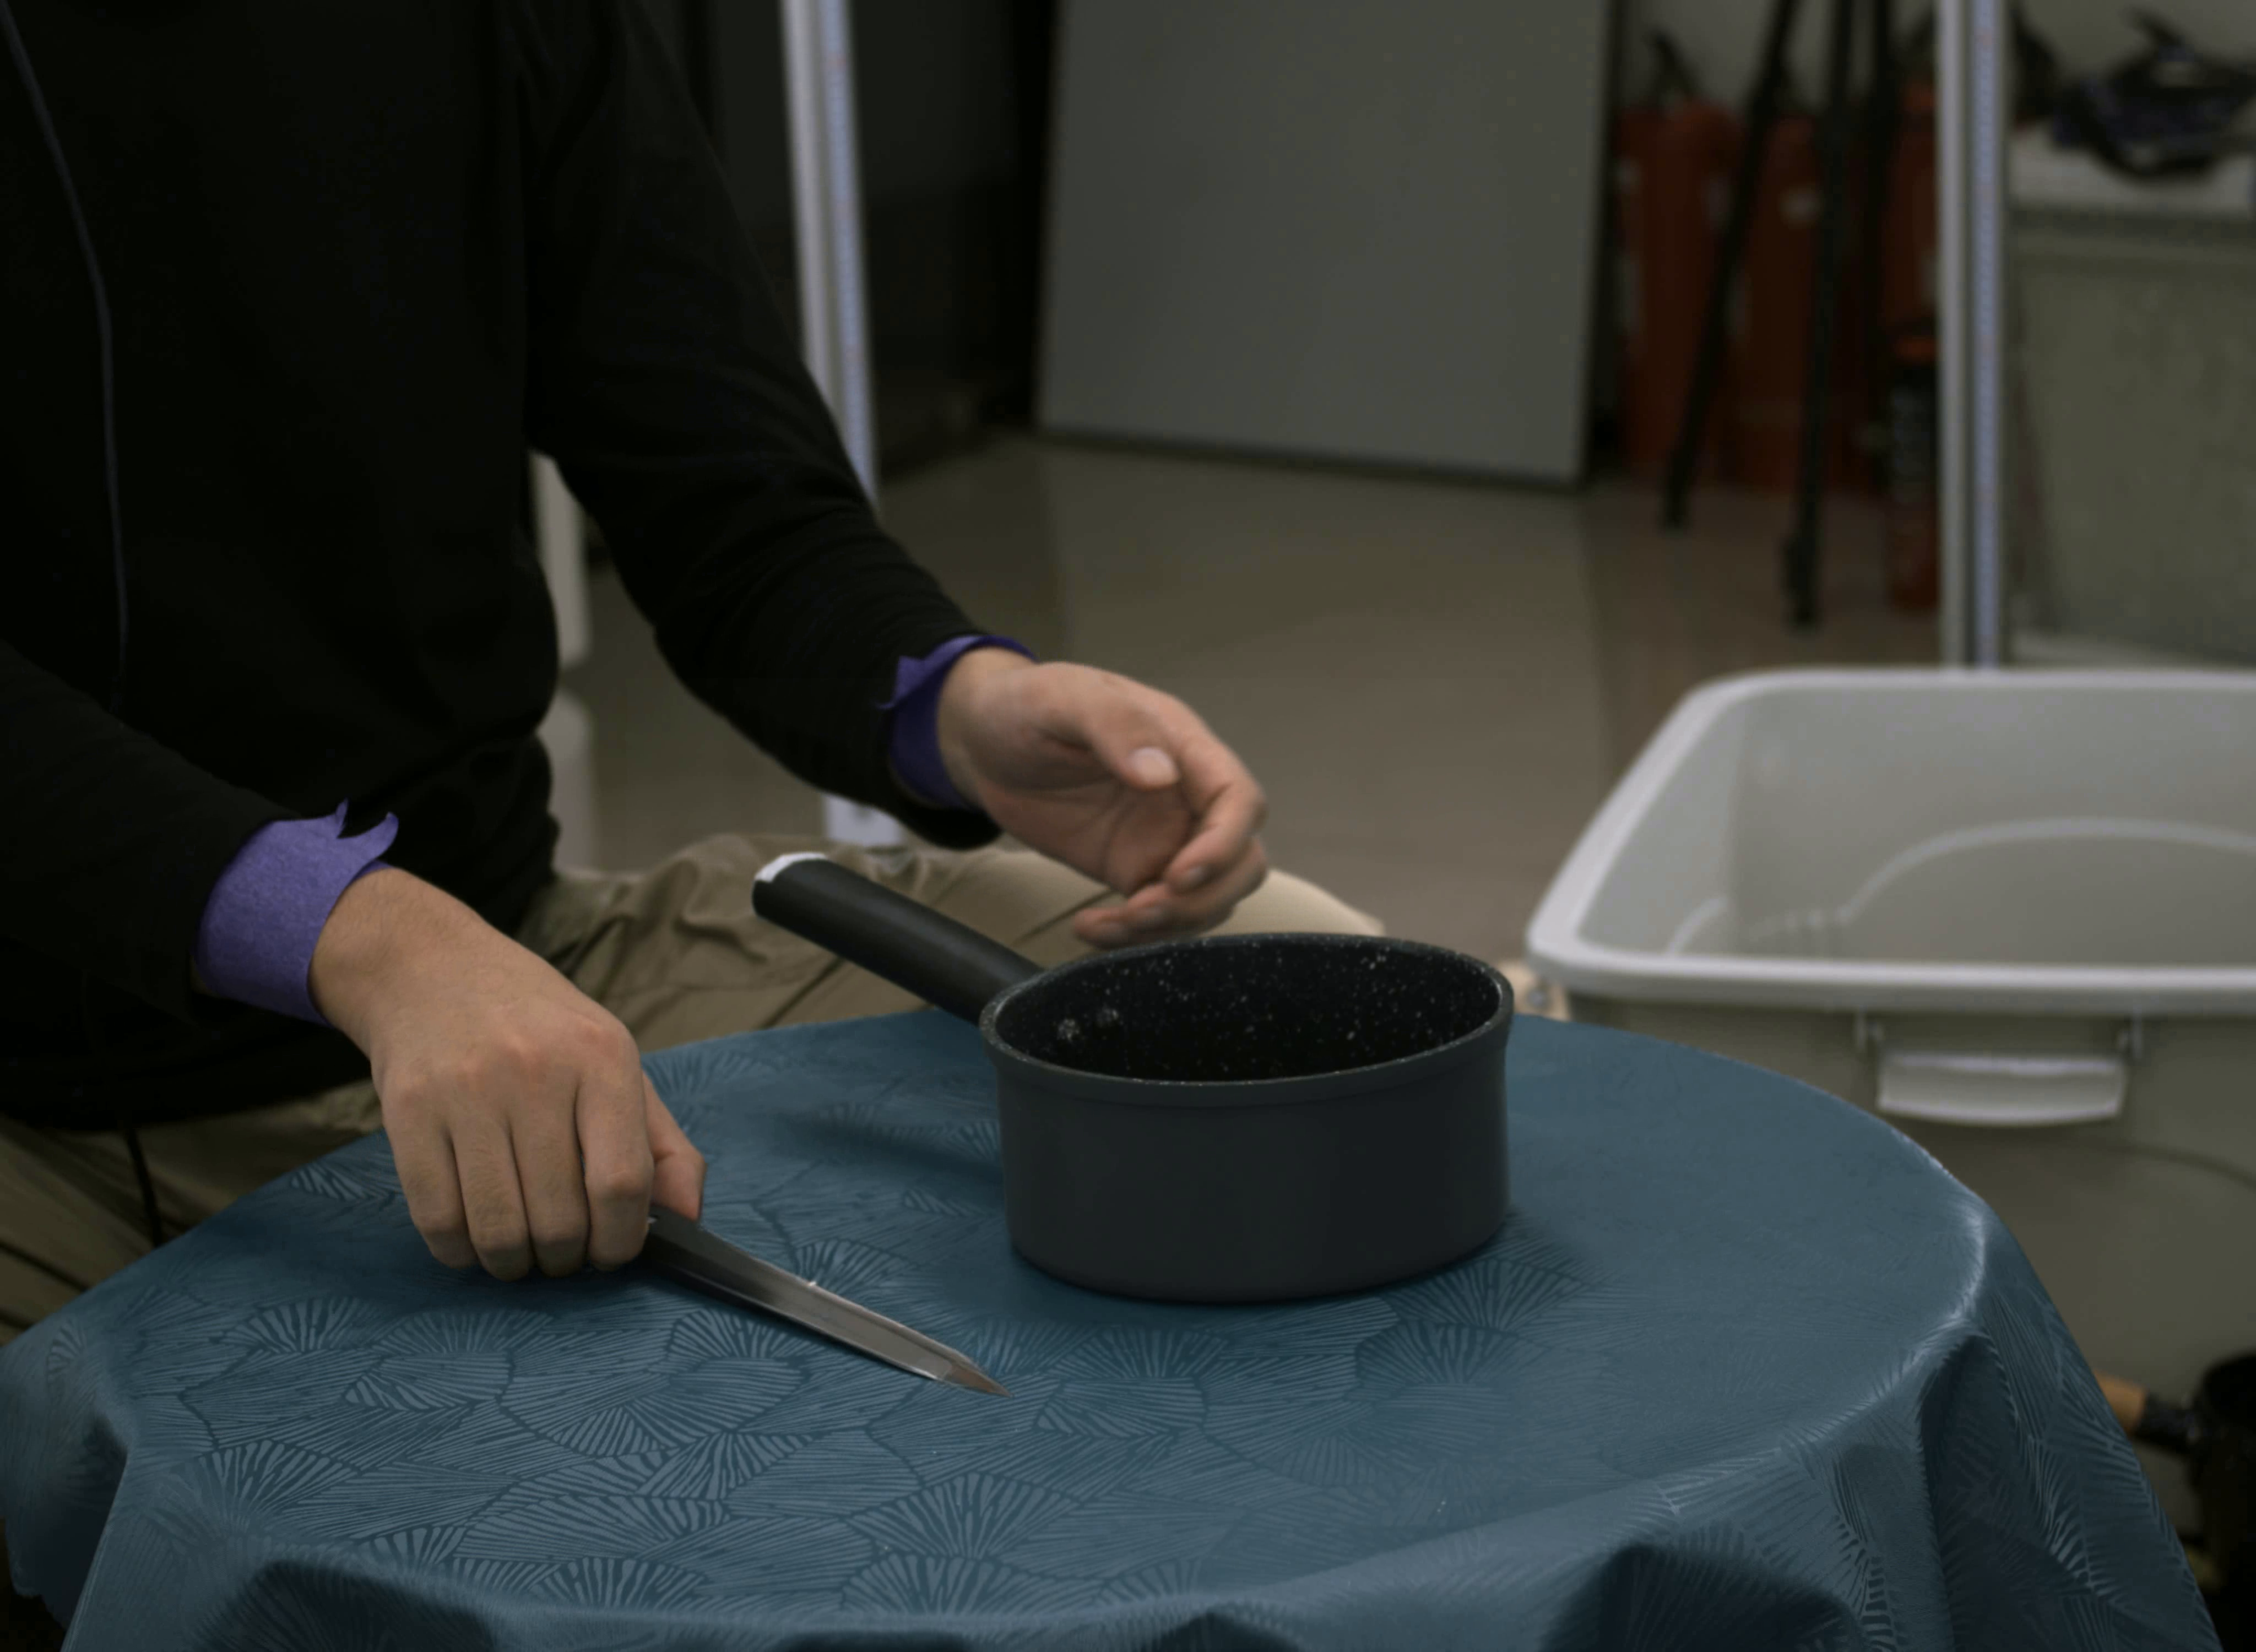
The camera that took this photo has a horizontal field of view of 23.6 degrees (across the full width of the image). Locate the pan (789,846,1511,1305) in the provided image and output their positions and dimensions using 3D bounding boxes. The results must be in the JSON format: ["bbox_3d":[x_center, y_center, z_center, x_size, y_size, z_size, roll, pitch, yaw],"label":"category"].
[{"bbox_3d":[-0.009,0.077,1.781,0.168,0.087,0.332,-14,17,-35],"label":"pan"}]

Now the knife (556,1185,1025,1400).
[{"bbox_3d":[-0.109,0.147,1.682,0.024,0.016,0.240,-15,20,-37],"label":"knife"}]
